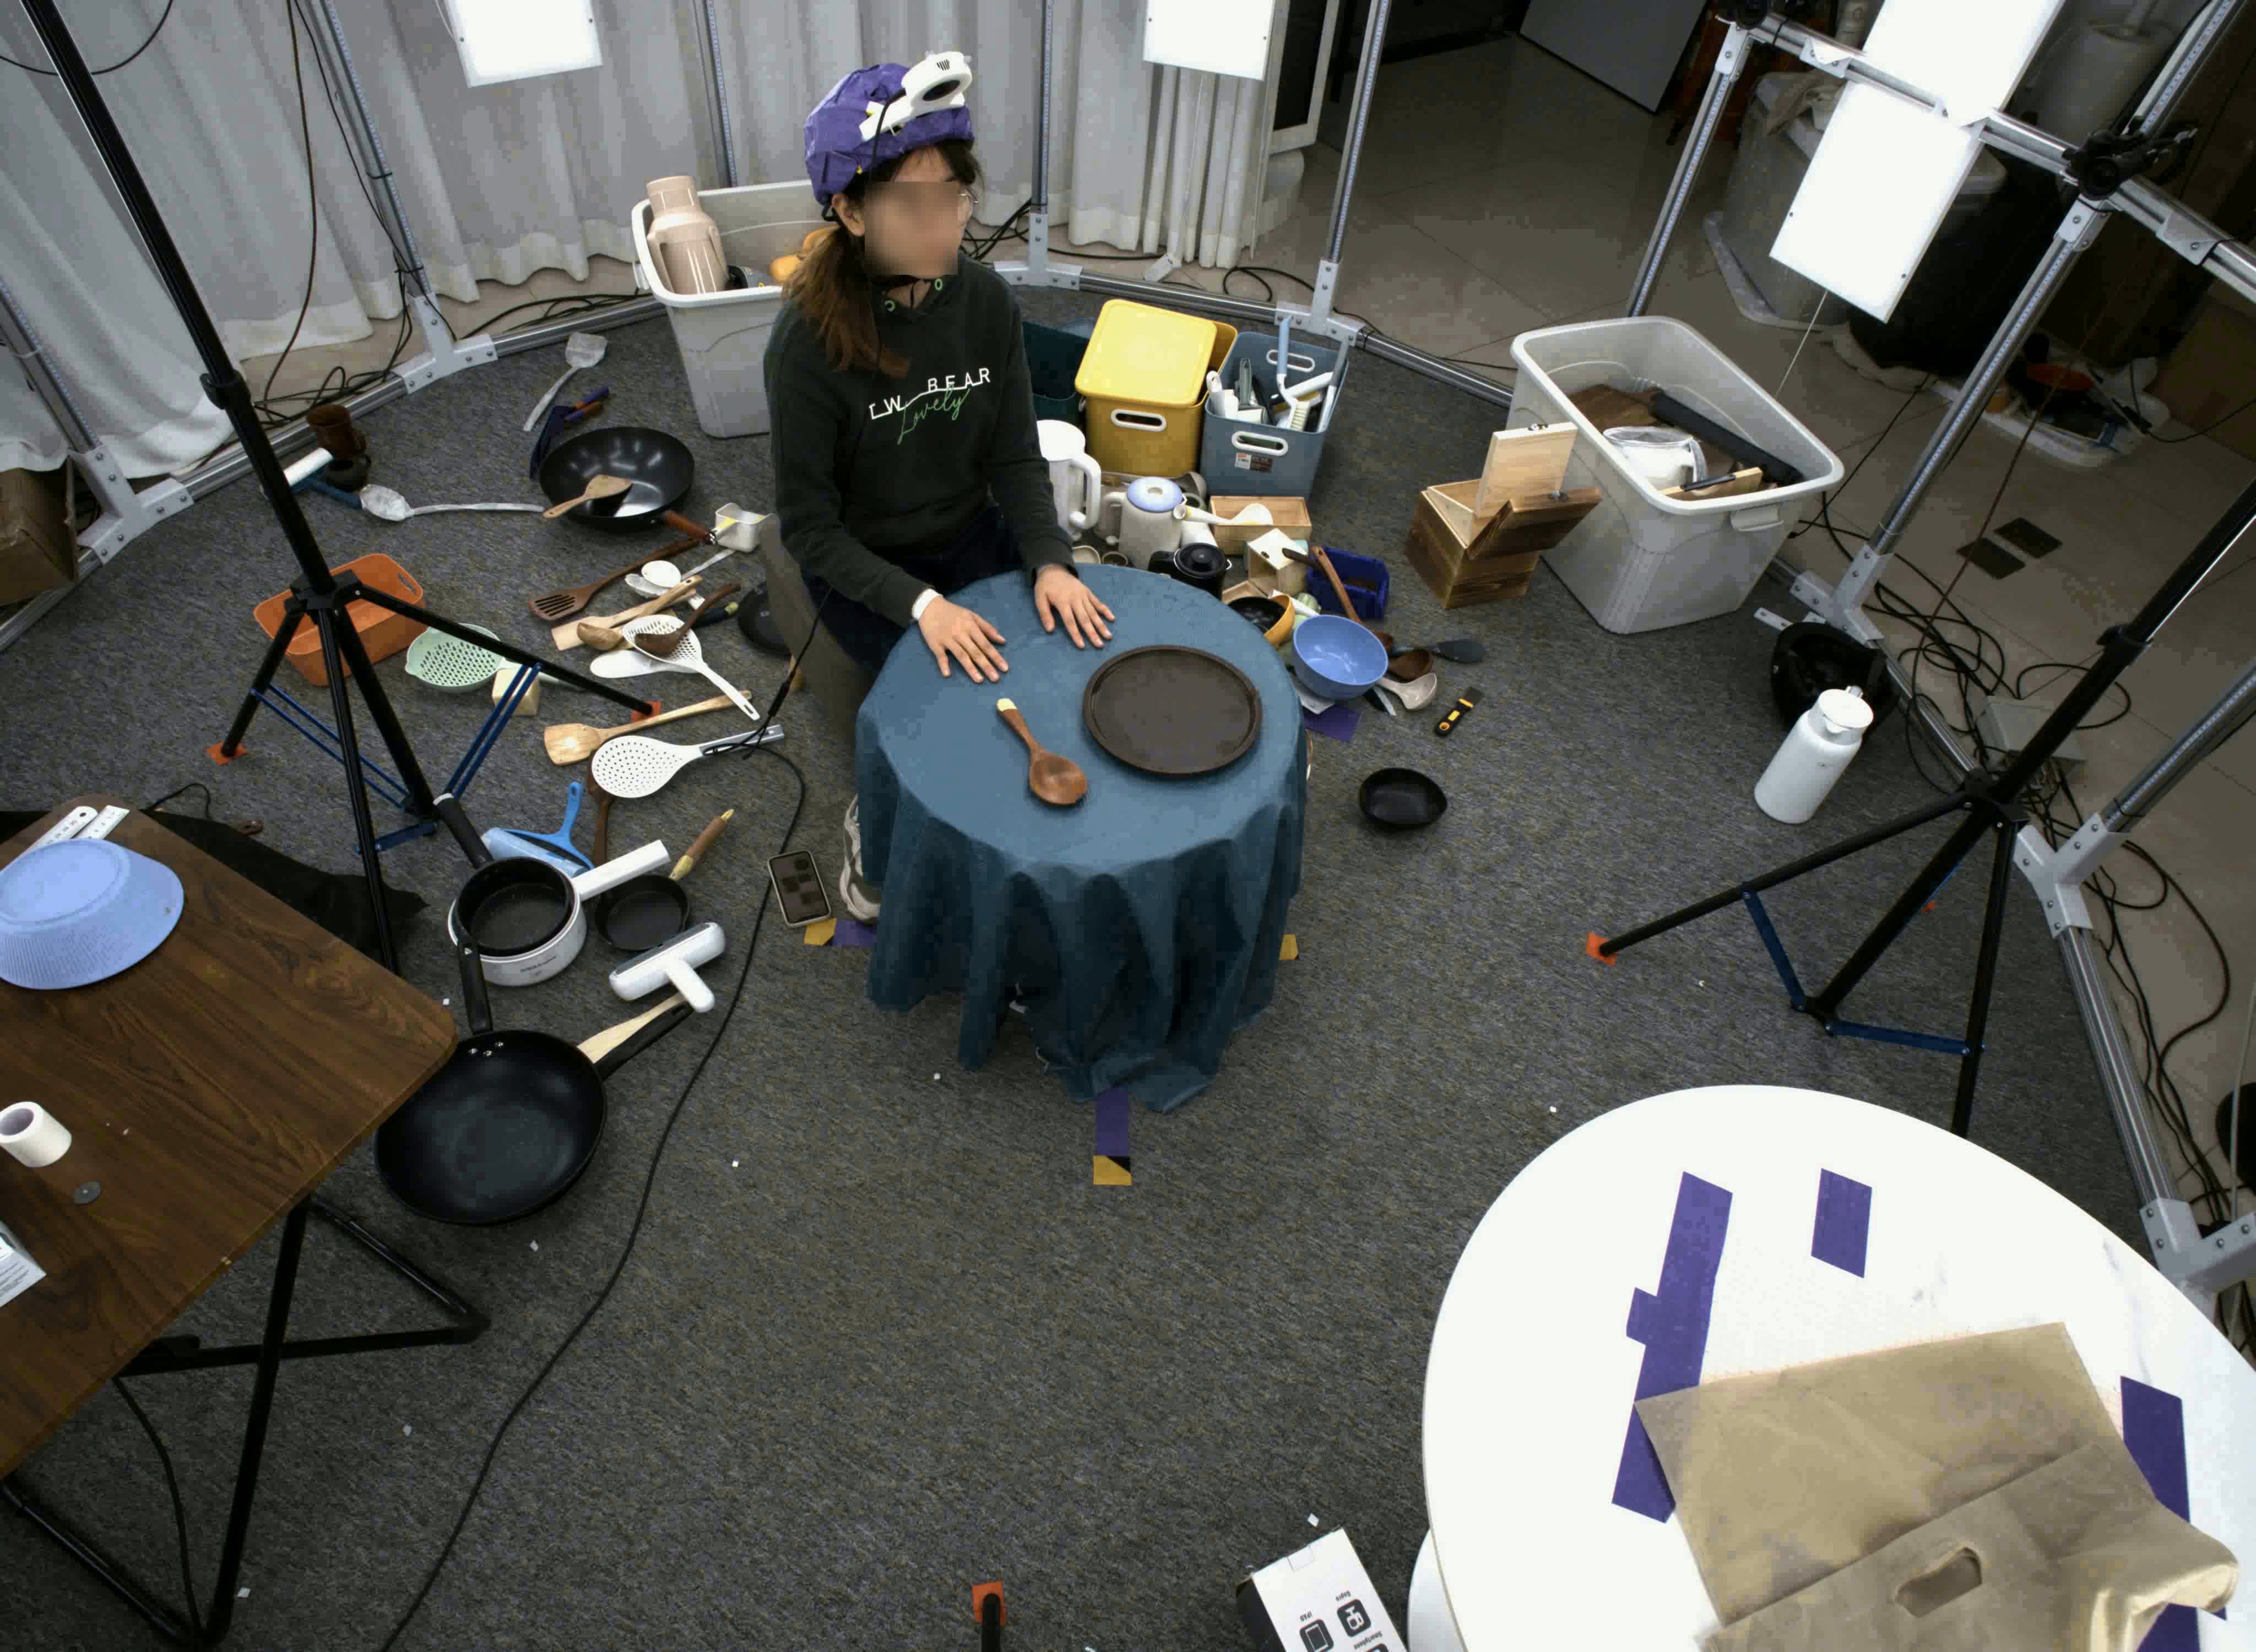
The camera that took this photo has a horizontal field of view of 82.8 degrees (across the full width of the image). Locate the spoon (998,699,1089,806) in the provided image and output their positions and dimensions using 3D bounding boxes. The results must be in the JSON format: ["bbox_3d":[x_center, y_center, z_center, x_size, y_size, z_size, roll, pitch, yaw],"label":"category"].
[{"bbox_3d":[-0.123,-0.101,1.752,0.075,0.017,0.220,-21,54,-20],"label":"spoon"}]

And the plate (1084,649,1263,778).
[{"bbox_3d":[0.064,-0.161,1.814,0.254,0.028,0.261,2,49,-3],"label":"plate"}]
